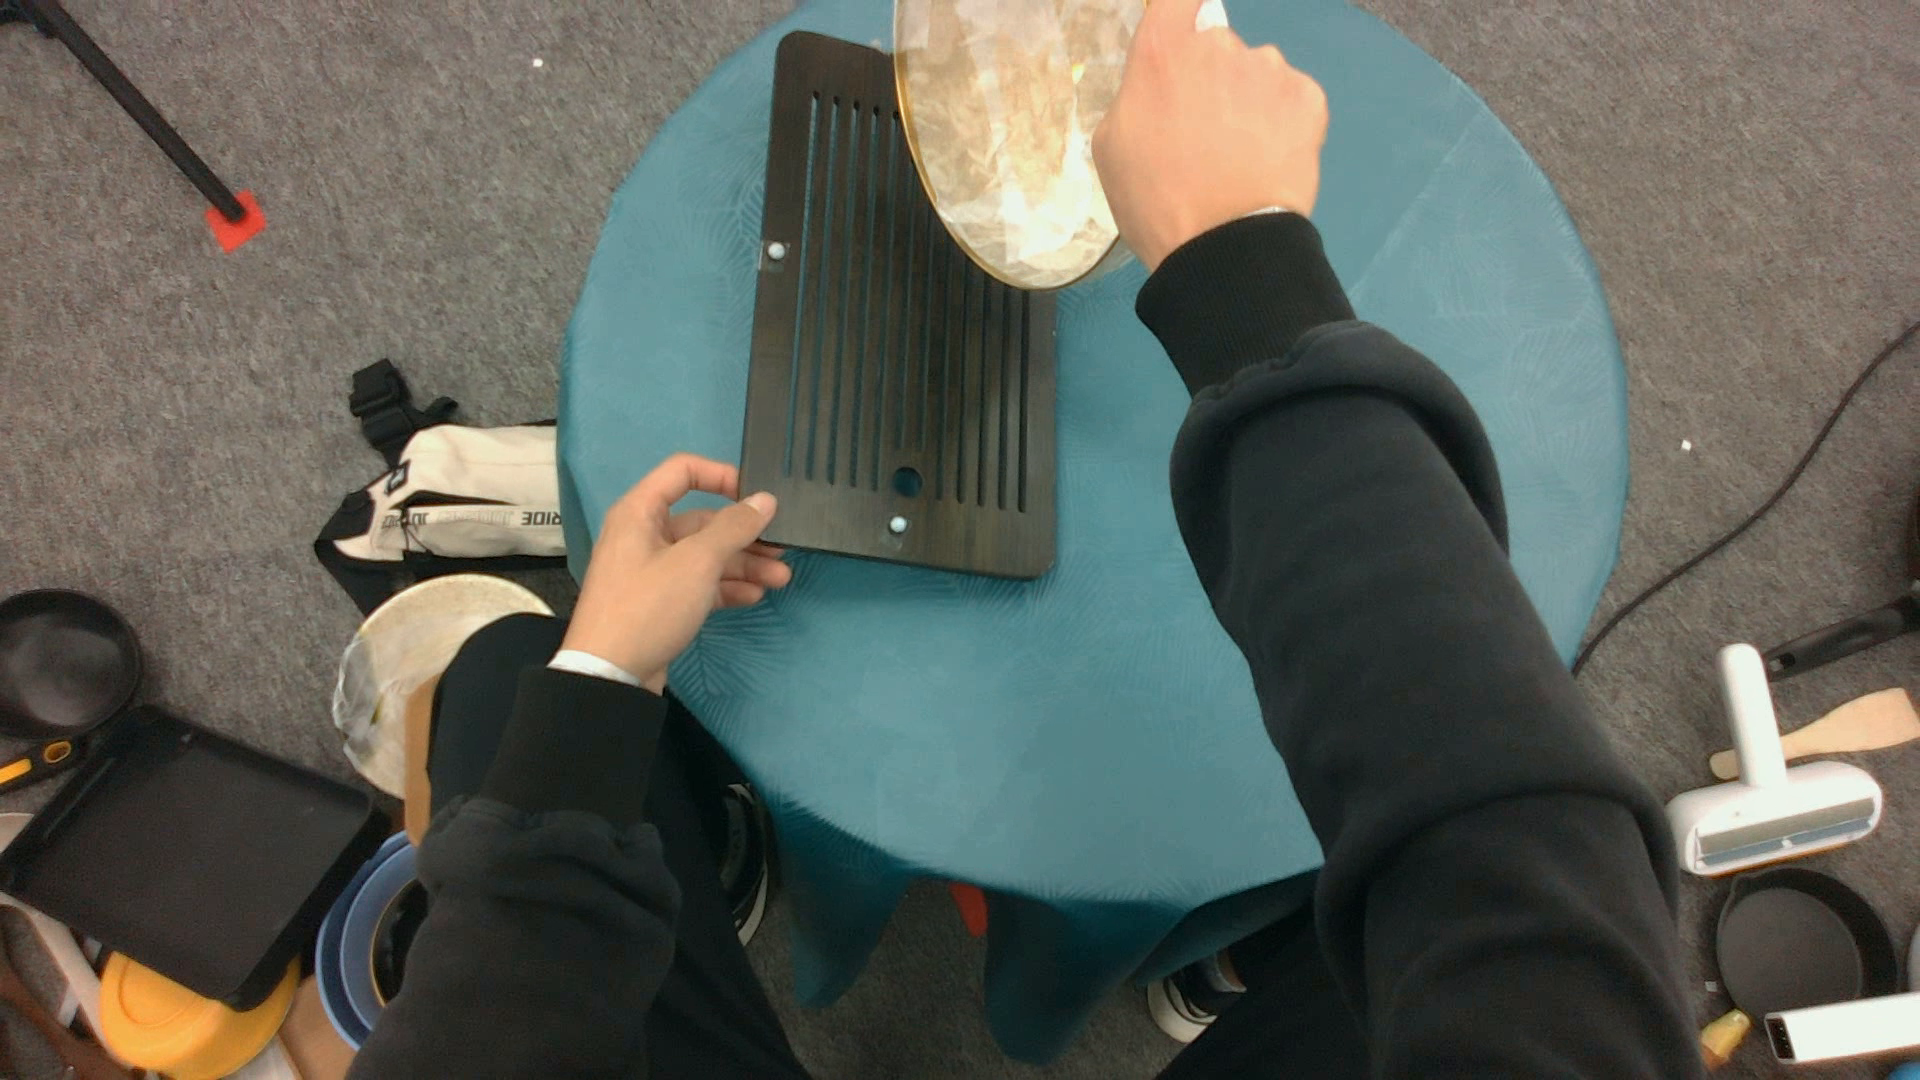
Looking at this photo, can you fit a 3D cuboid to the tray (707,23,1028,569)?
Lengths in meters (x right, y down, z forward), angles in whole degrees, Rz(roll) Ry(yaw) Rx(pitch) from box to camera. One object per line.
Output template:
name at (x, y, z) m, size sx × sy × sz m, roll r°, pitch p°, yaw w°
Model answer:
tray at (-0.044, -0.137, 0.754) m, size 0.170 × 0.018 × 0.307 m, roll 8°, pitch 69°, yaw -19°

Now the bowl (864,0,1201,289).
bowl at (0.047, -0.233, 0.672) m, size 0.095 × 0.213 × 0.215 m, roll -20°, pitch 71°, yaw -32°
